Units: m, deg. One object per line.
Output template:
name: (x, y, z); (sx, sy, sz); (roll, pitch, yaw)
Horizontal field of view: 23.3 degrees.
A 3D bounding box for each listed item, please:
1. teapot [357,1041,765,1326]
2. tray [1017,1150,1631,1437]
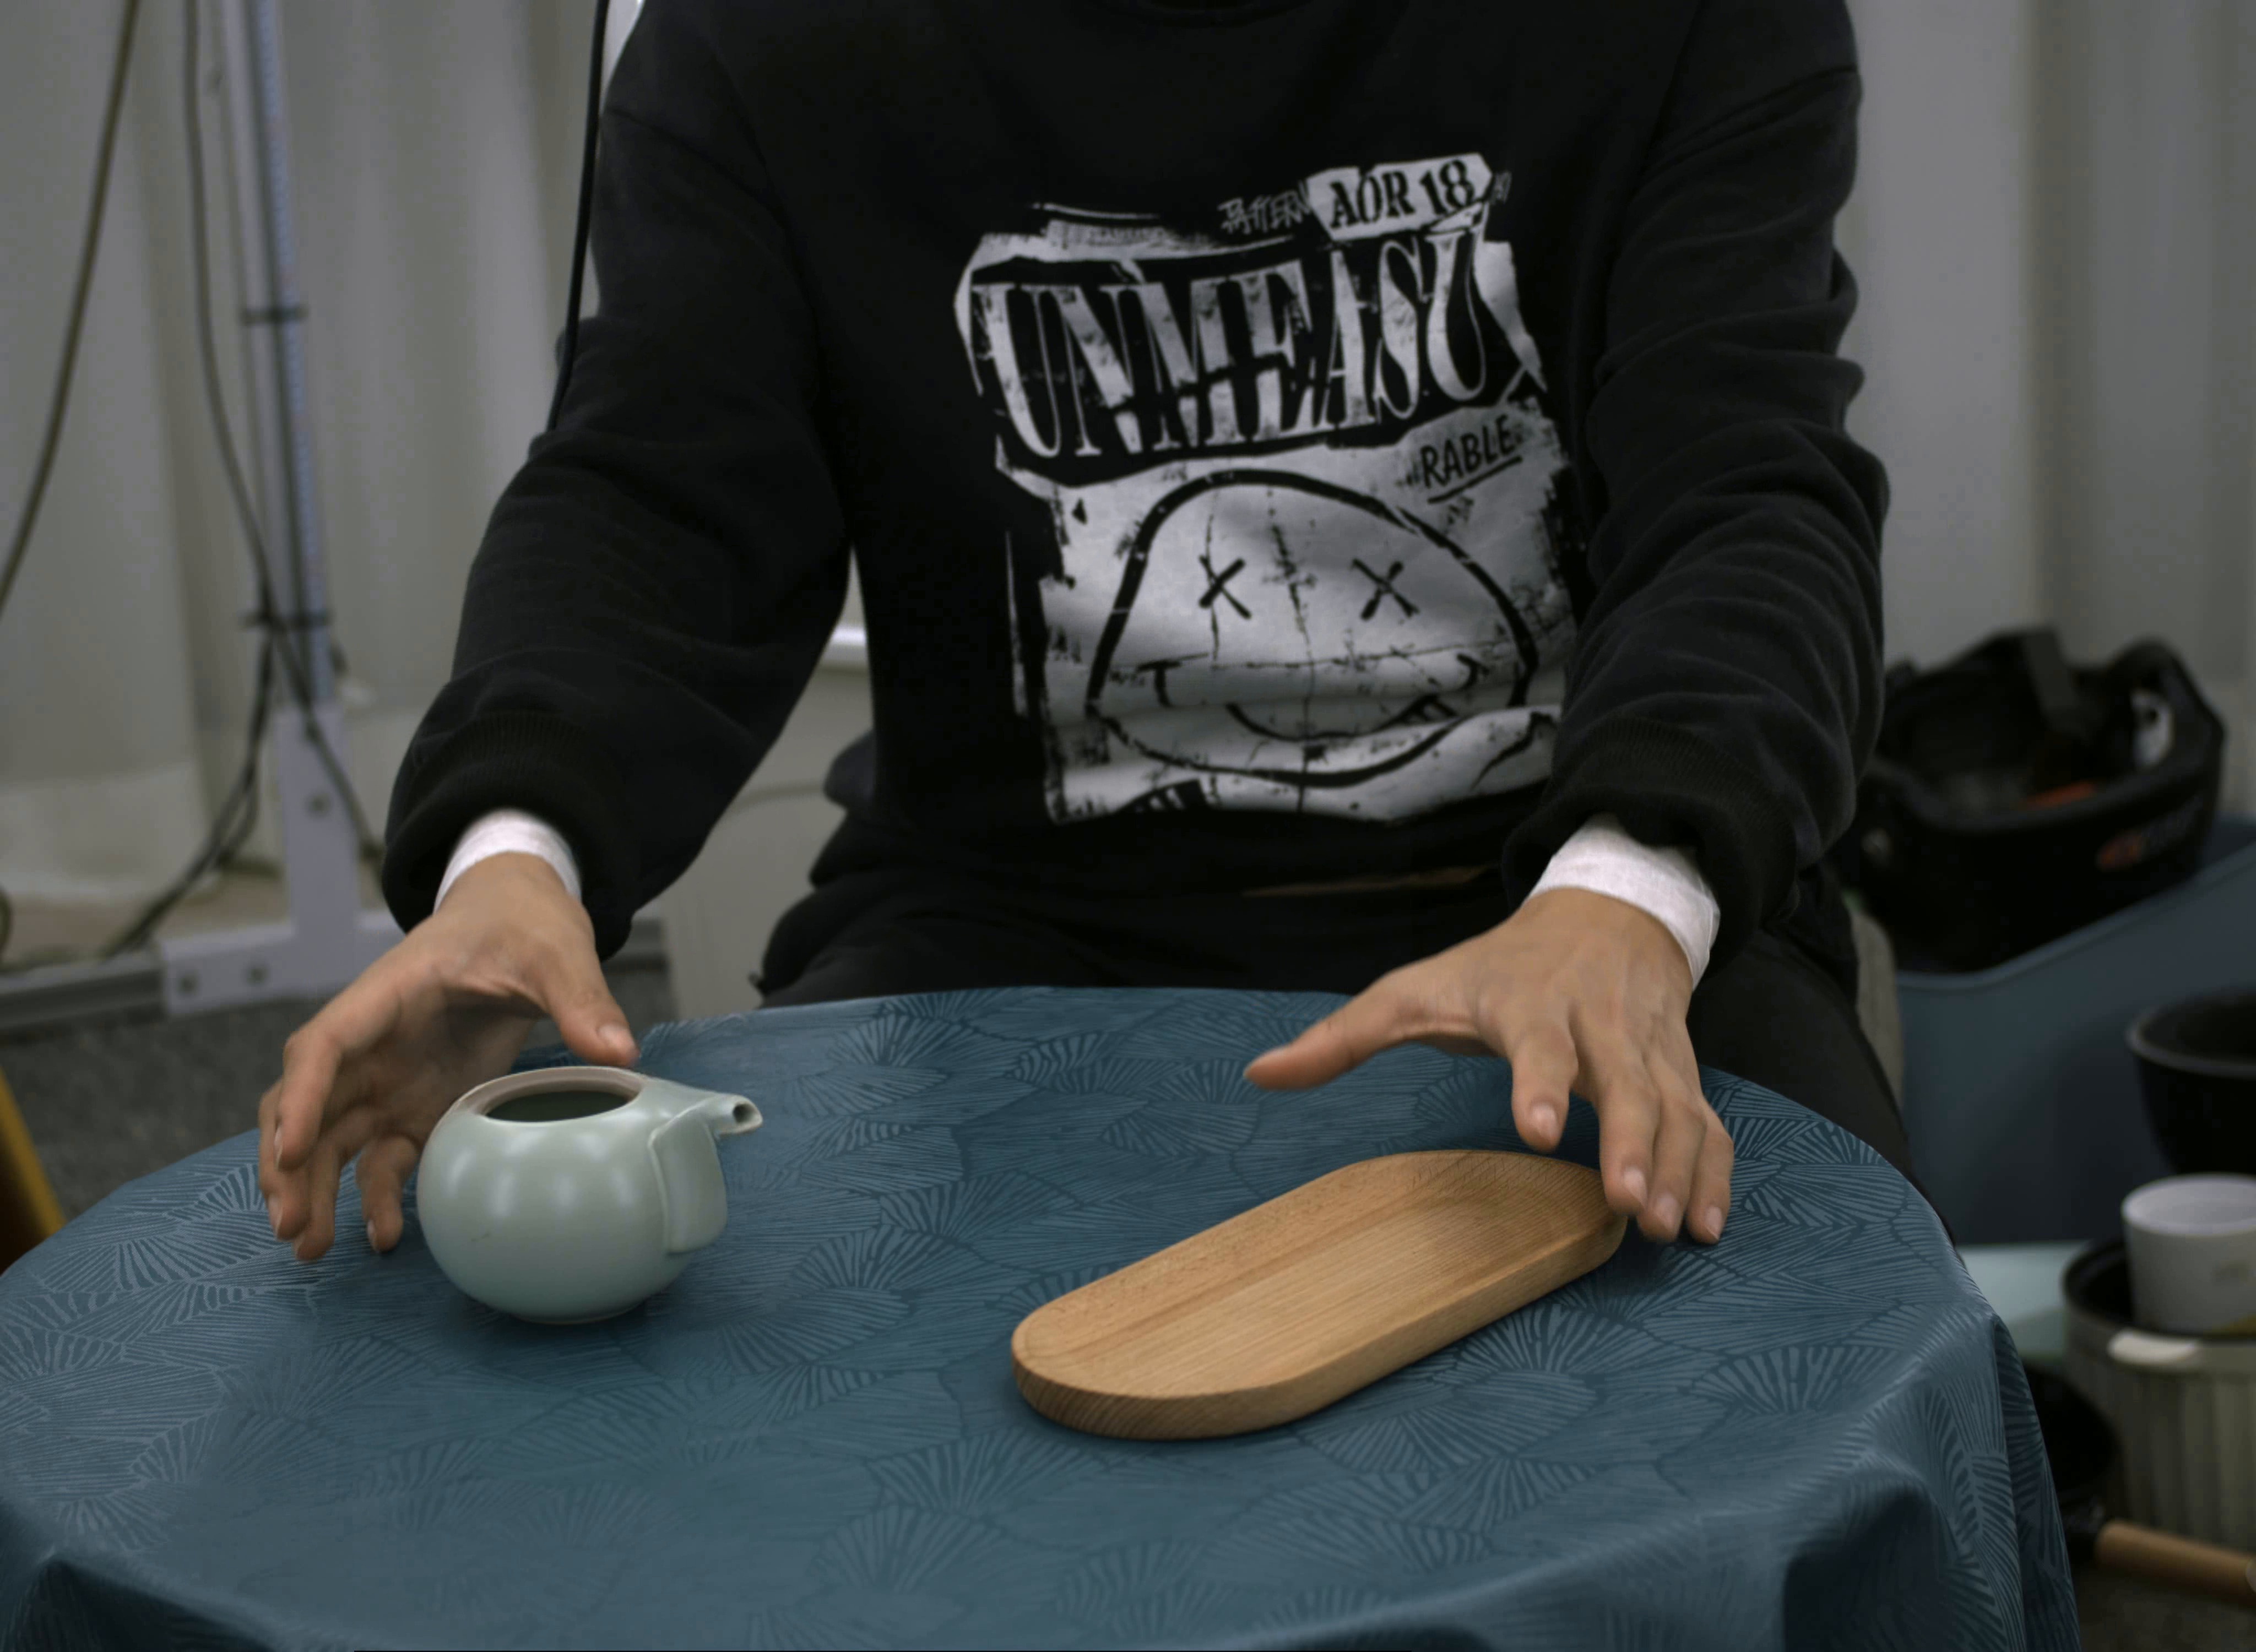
teapot: (-0.168, 0.108, 1.632); (0.144, 0.074, 0.088); (8, 18, 30)
tray: (0.060, 0.135, 1.597); (0.102, 0.020, 0.231); (11, 18, 38)
